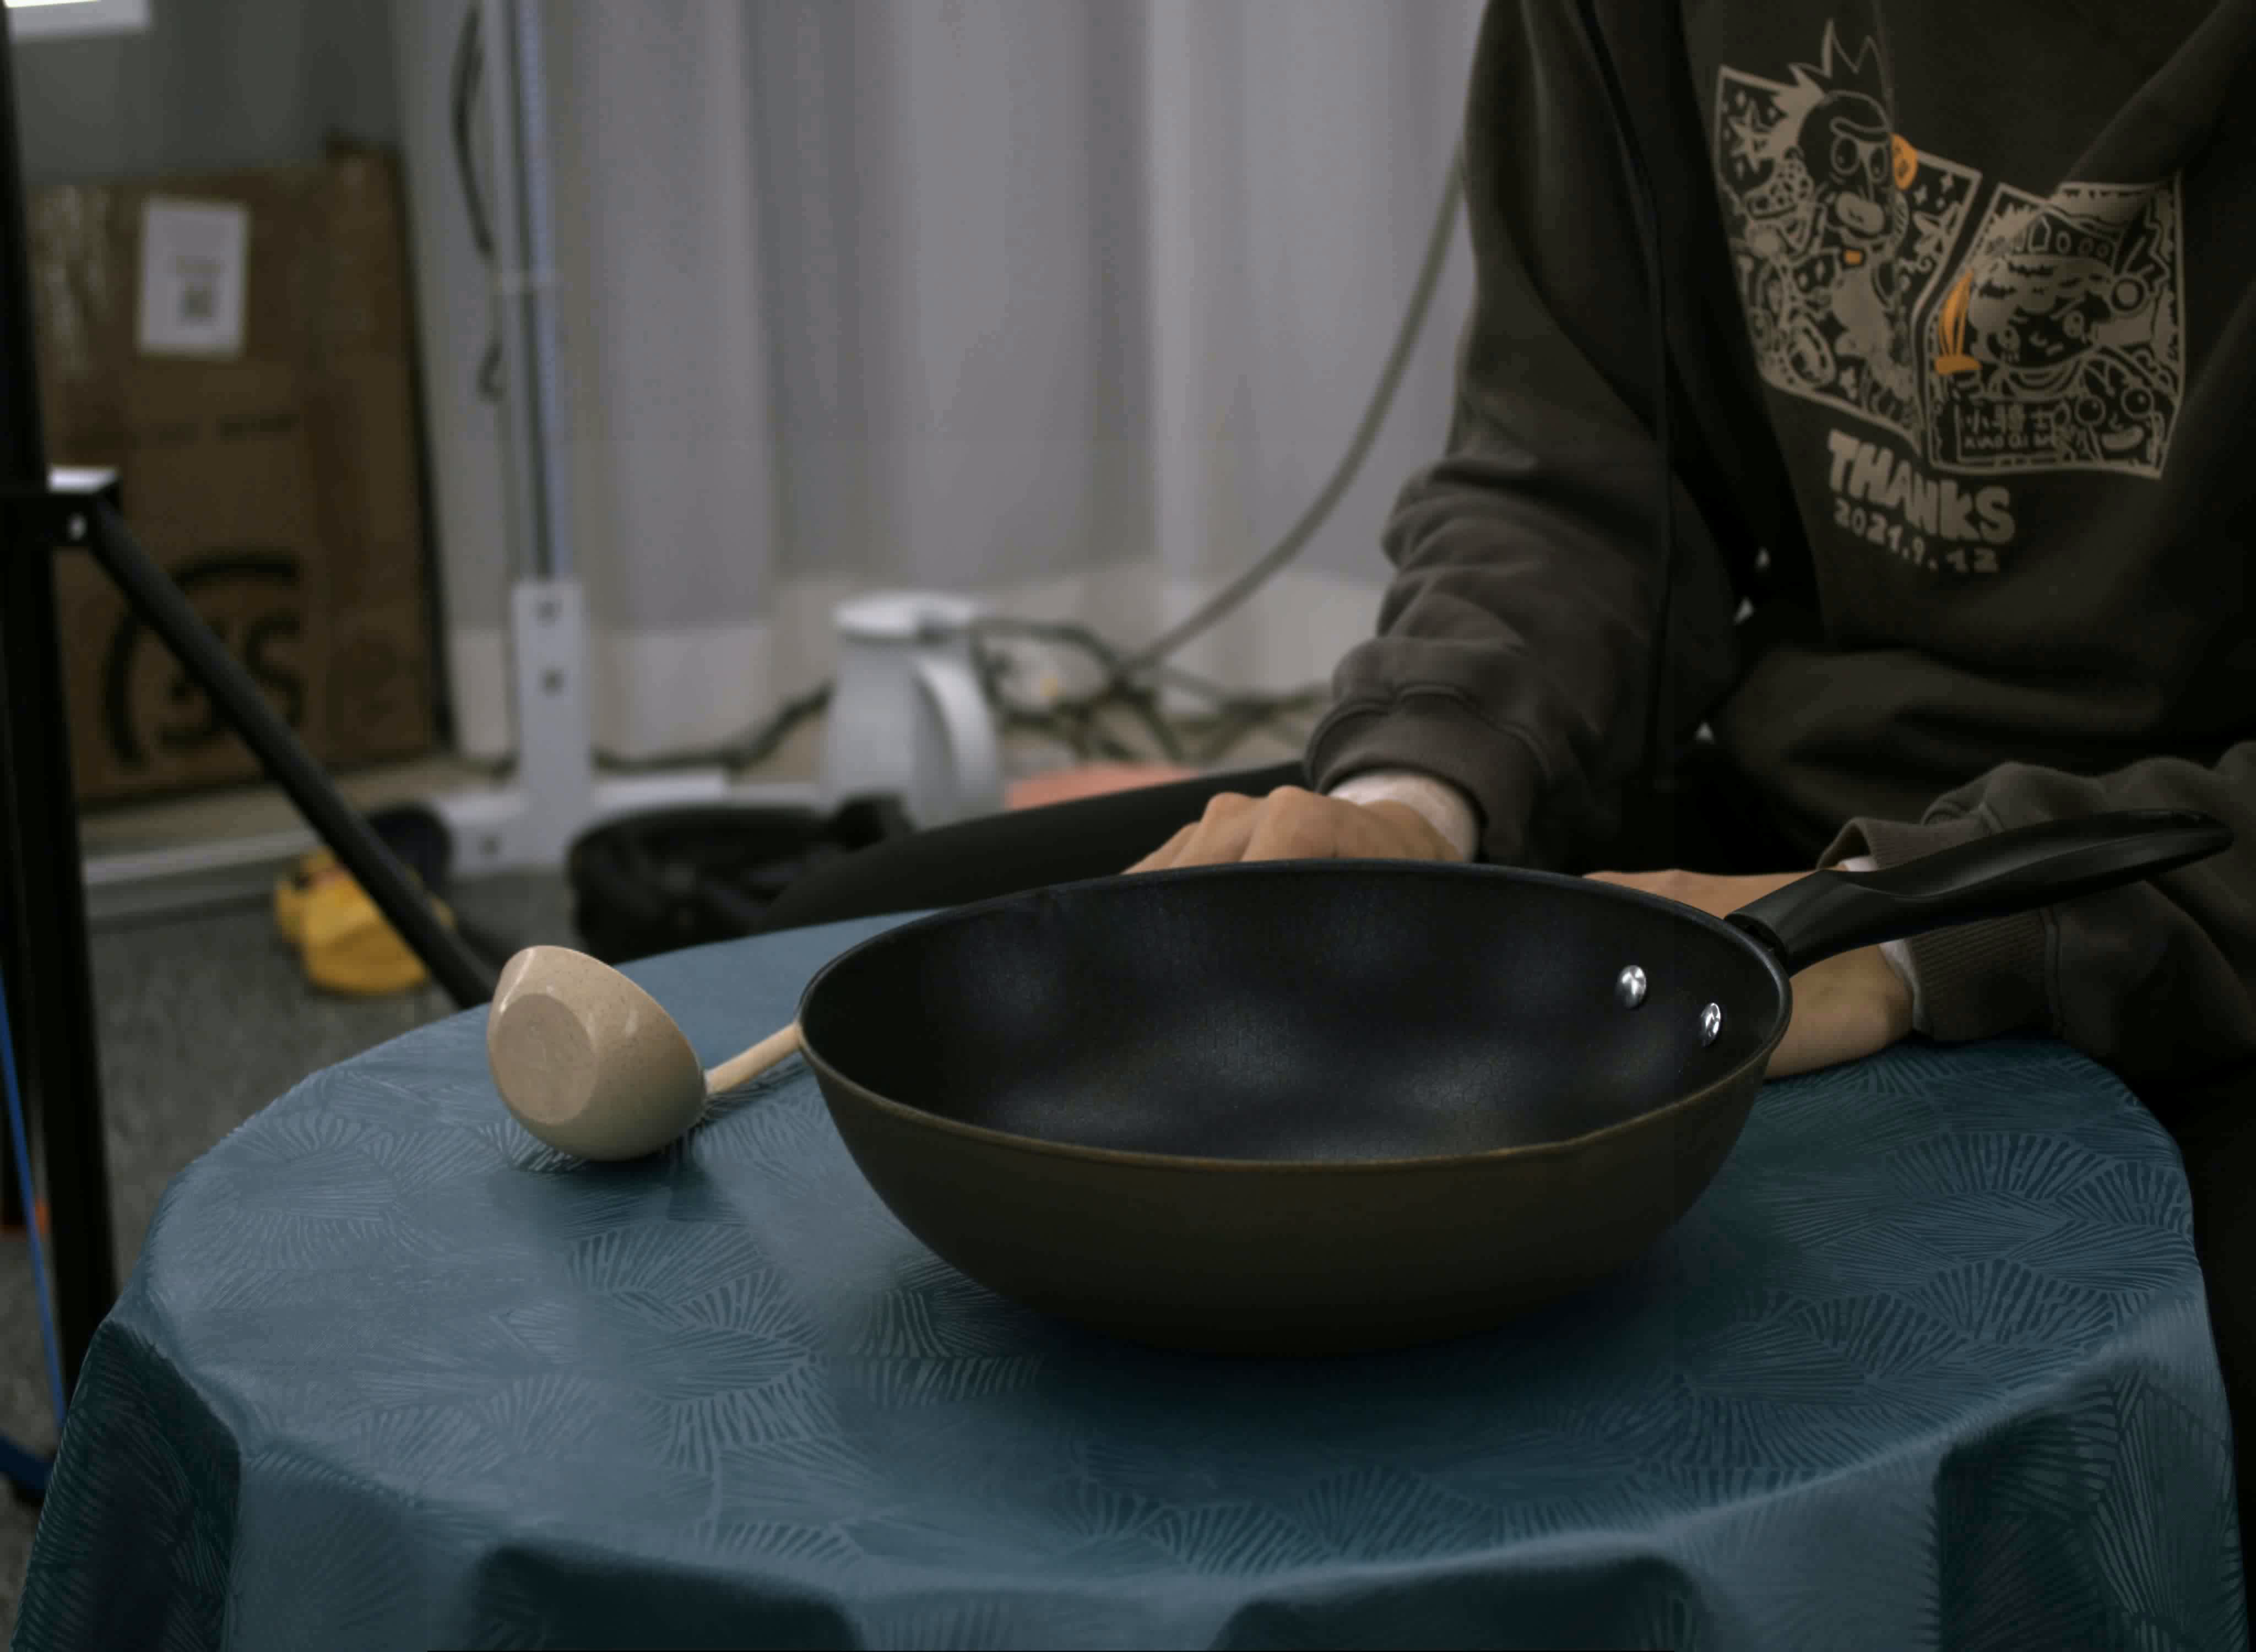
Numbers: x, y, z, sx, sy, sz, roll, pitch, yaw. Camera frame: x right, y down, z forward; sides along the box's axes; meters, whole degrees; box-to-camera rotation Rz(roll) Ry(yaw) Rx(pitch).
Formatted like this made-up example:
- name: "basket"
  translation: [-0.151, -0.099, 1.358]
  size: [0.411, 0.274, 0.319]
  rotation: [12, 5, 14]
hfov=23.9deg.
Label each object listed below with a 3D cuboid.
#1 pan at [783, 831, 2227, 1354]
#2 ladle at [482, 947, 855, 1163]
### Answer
- name: "pan"
  translation: [0.124, 0.070, 1.524]
  size: [0.453, 0.087, 0.294]
  rotation: [-9, 17, -25]
- name: "ladle"
  translation: [-0.111, 0.040, 1.687]
  size: [0.073, 0.073, 0.250]
  rotation: [3, 18, 31]
